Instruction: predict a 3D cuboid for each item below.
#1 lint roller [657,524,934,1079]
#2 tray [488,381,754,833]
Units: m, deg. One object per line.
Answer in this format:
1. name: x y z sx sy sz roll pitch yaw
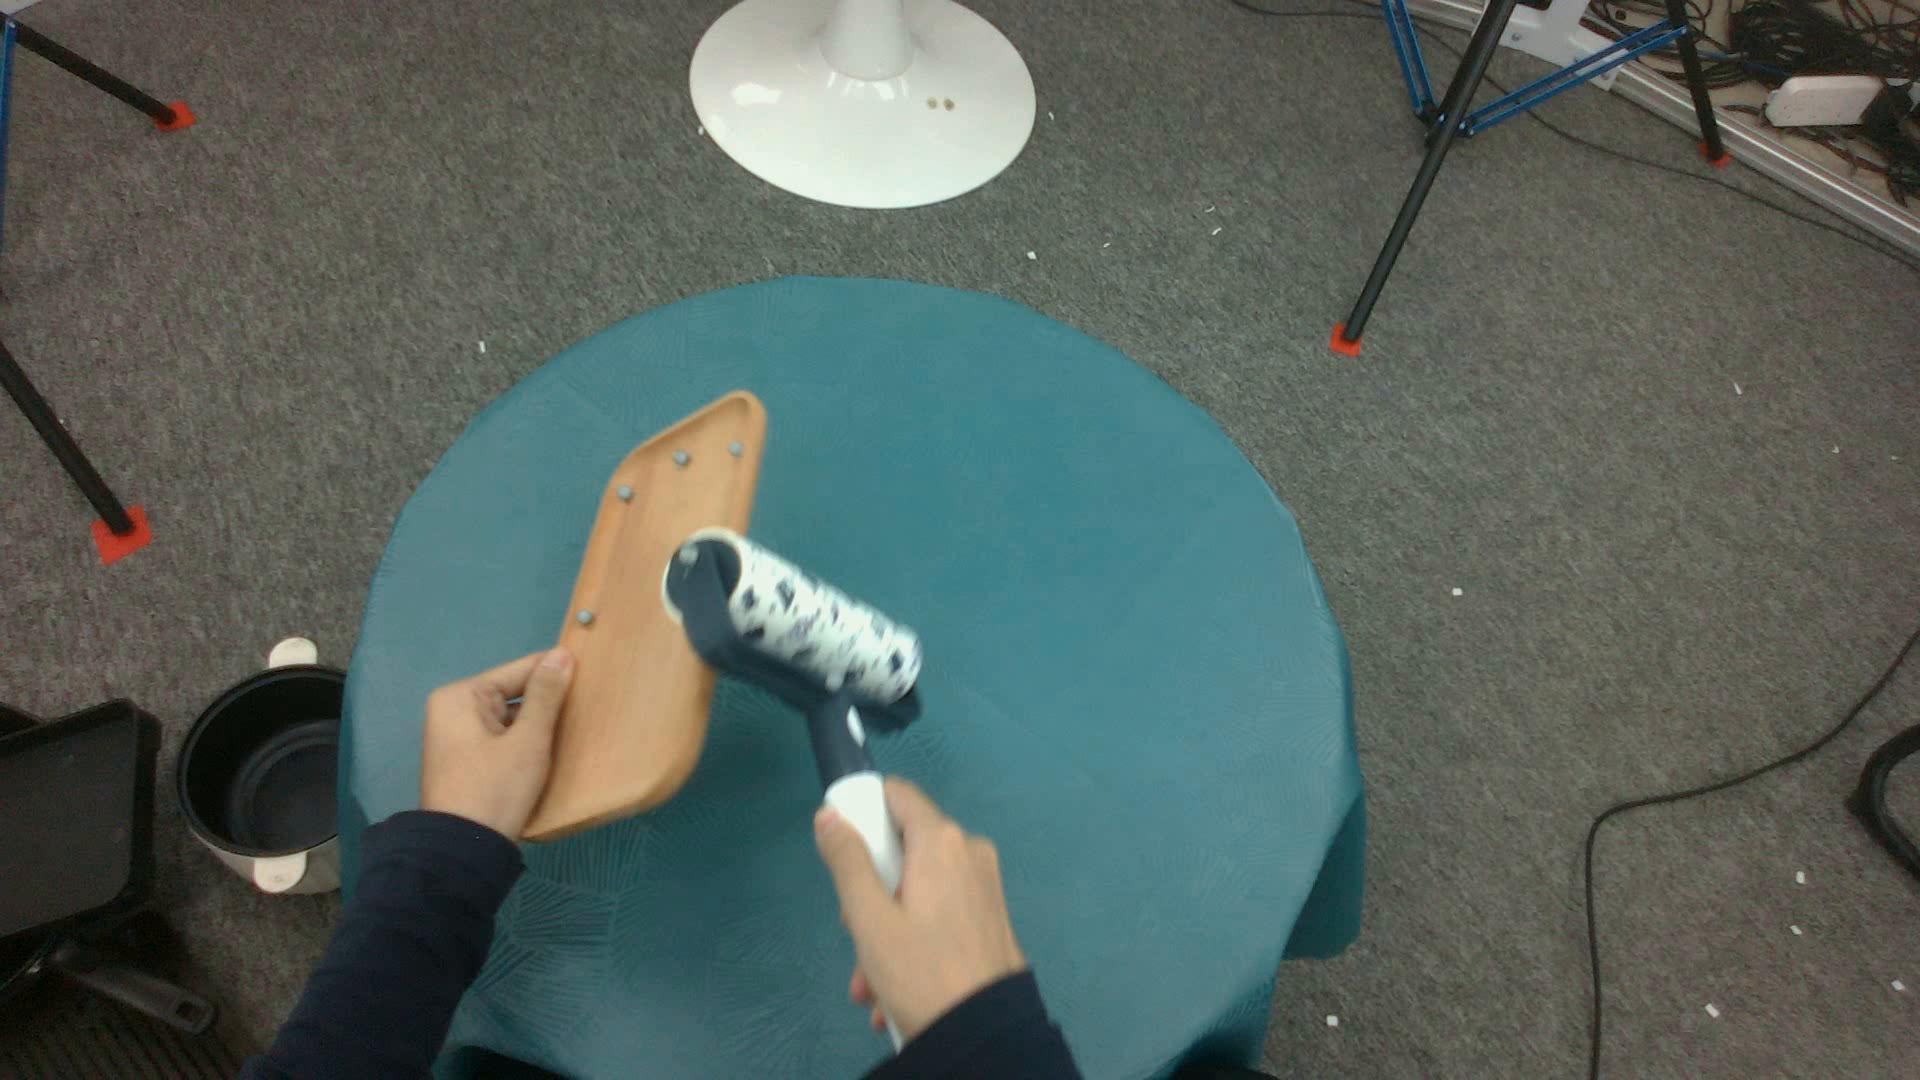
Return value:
1. lint roller: -0.051 0.122 0.628 0.050 0.176 0.248 -30 60 13
2. tray: -0.169 0.028 0.709 0.023 0.130 0.252 37 43 -35
